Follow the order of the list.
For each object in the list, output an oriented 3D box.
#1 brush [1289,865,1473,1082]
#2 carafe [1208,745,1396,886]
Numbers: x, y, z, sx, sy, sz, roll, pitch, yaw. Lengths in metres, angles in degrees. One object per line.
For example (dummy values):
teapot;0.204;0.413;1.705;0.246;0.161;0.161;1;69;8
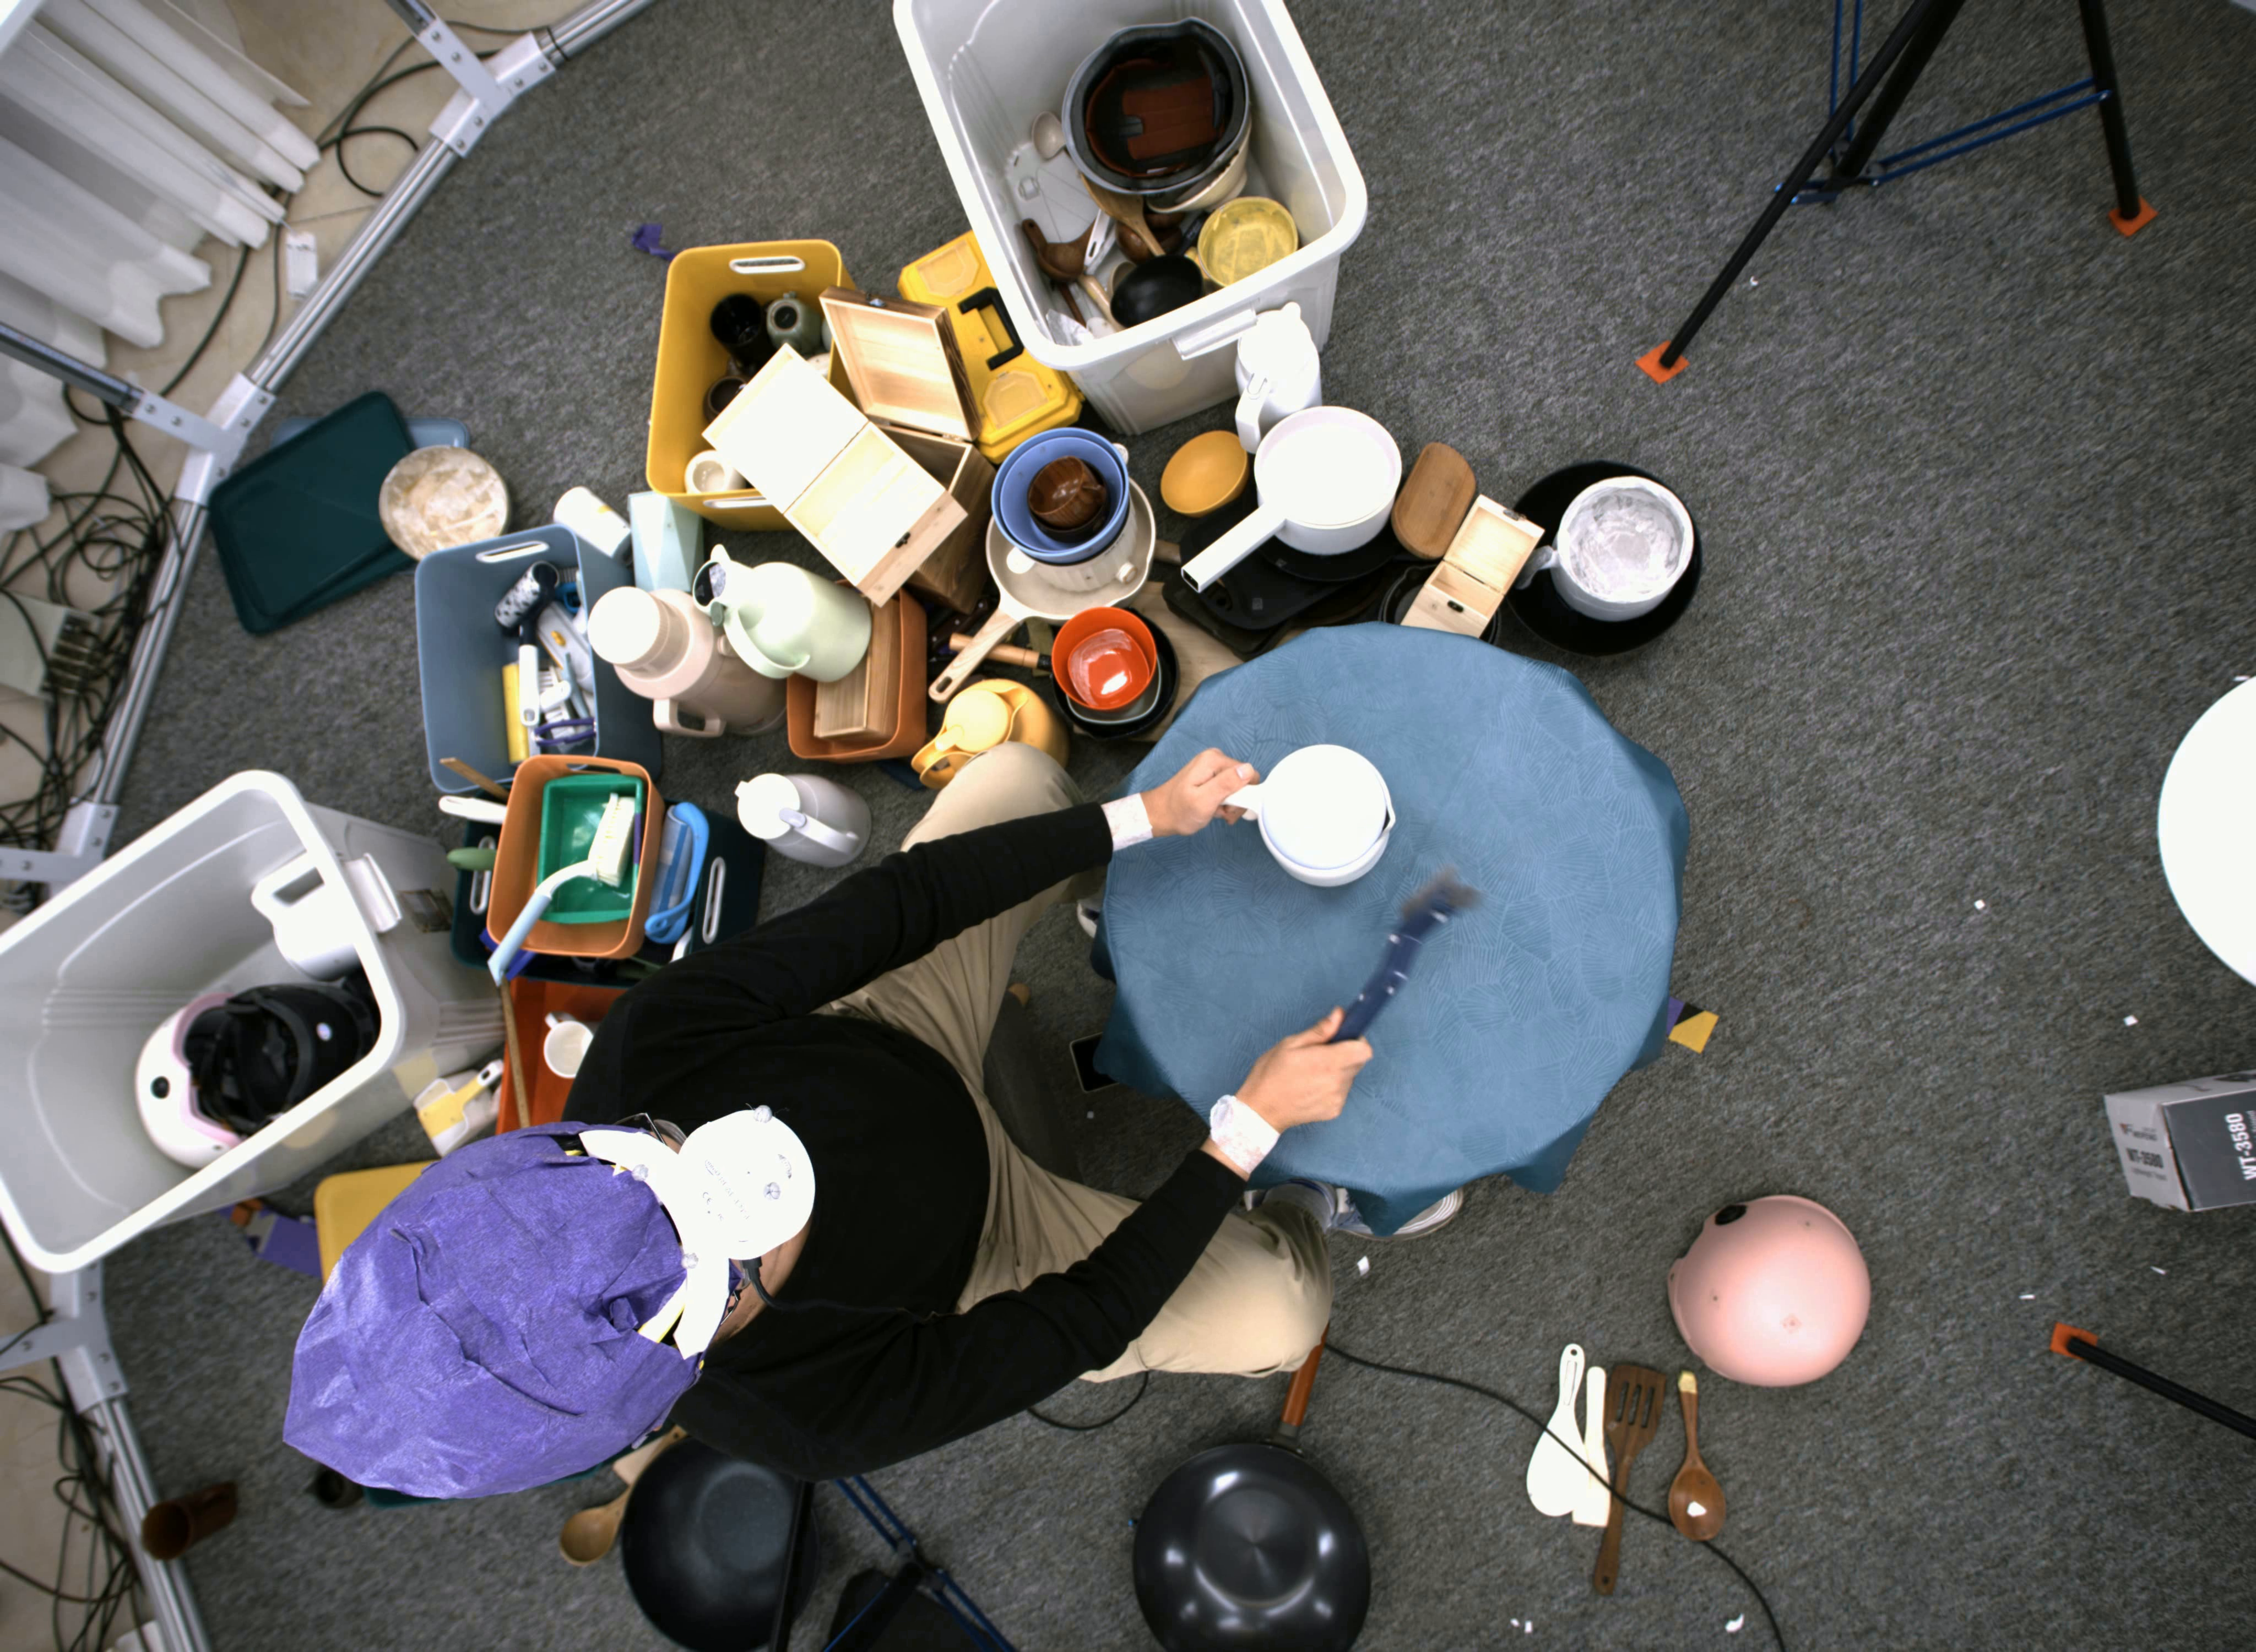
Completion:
brush;0.237;0.153;1.325;0.033;0.094;0.278;18;114;-19
carafe;0.175;-0.014;1.395;0.191;0.183;0.132;9;86;12
